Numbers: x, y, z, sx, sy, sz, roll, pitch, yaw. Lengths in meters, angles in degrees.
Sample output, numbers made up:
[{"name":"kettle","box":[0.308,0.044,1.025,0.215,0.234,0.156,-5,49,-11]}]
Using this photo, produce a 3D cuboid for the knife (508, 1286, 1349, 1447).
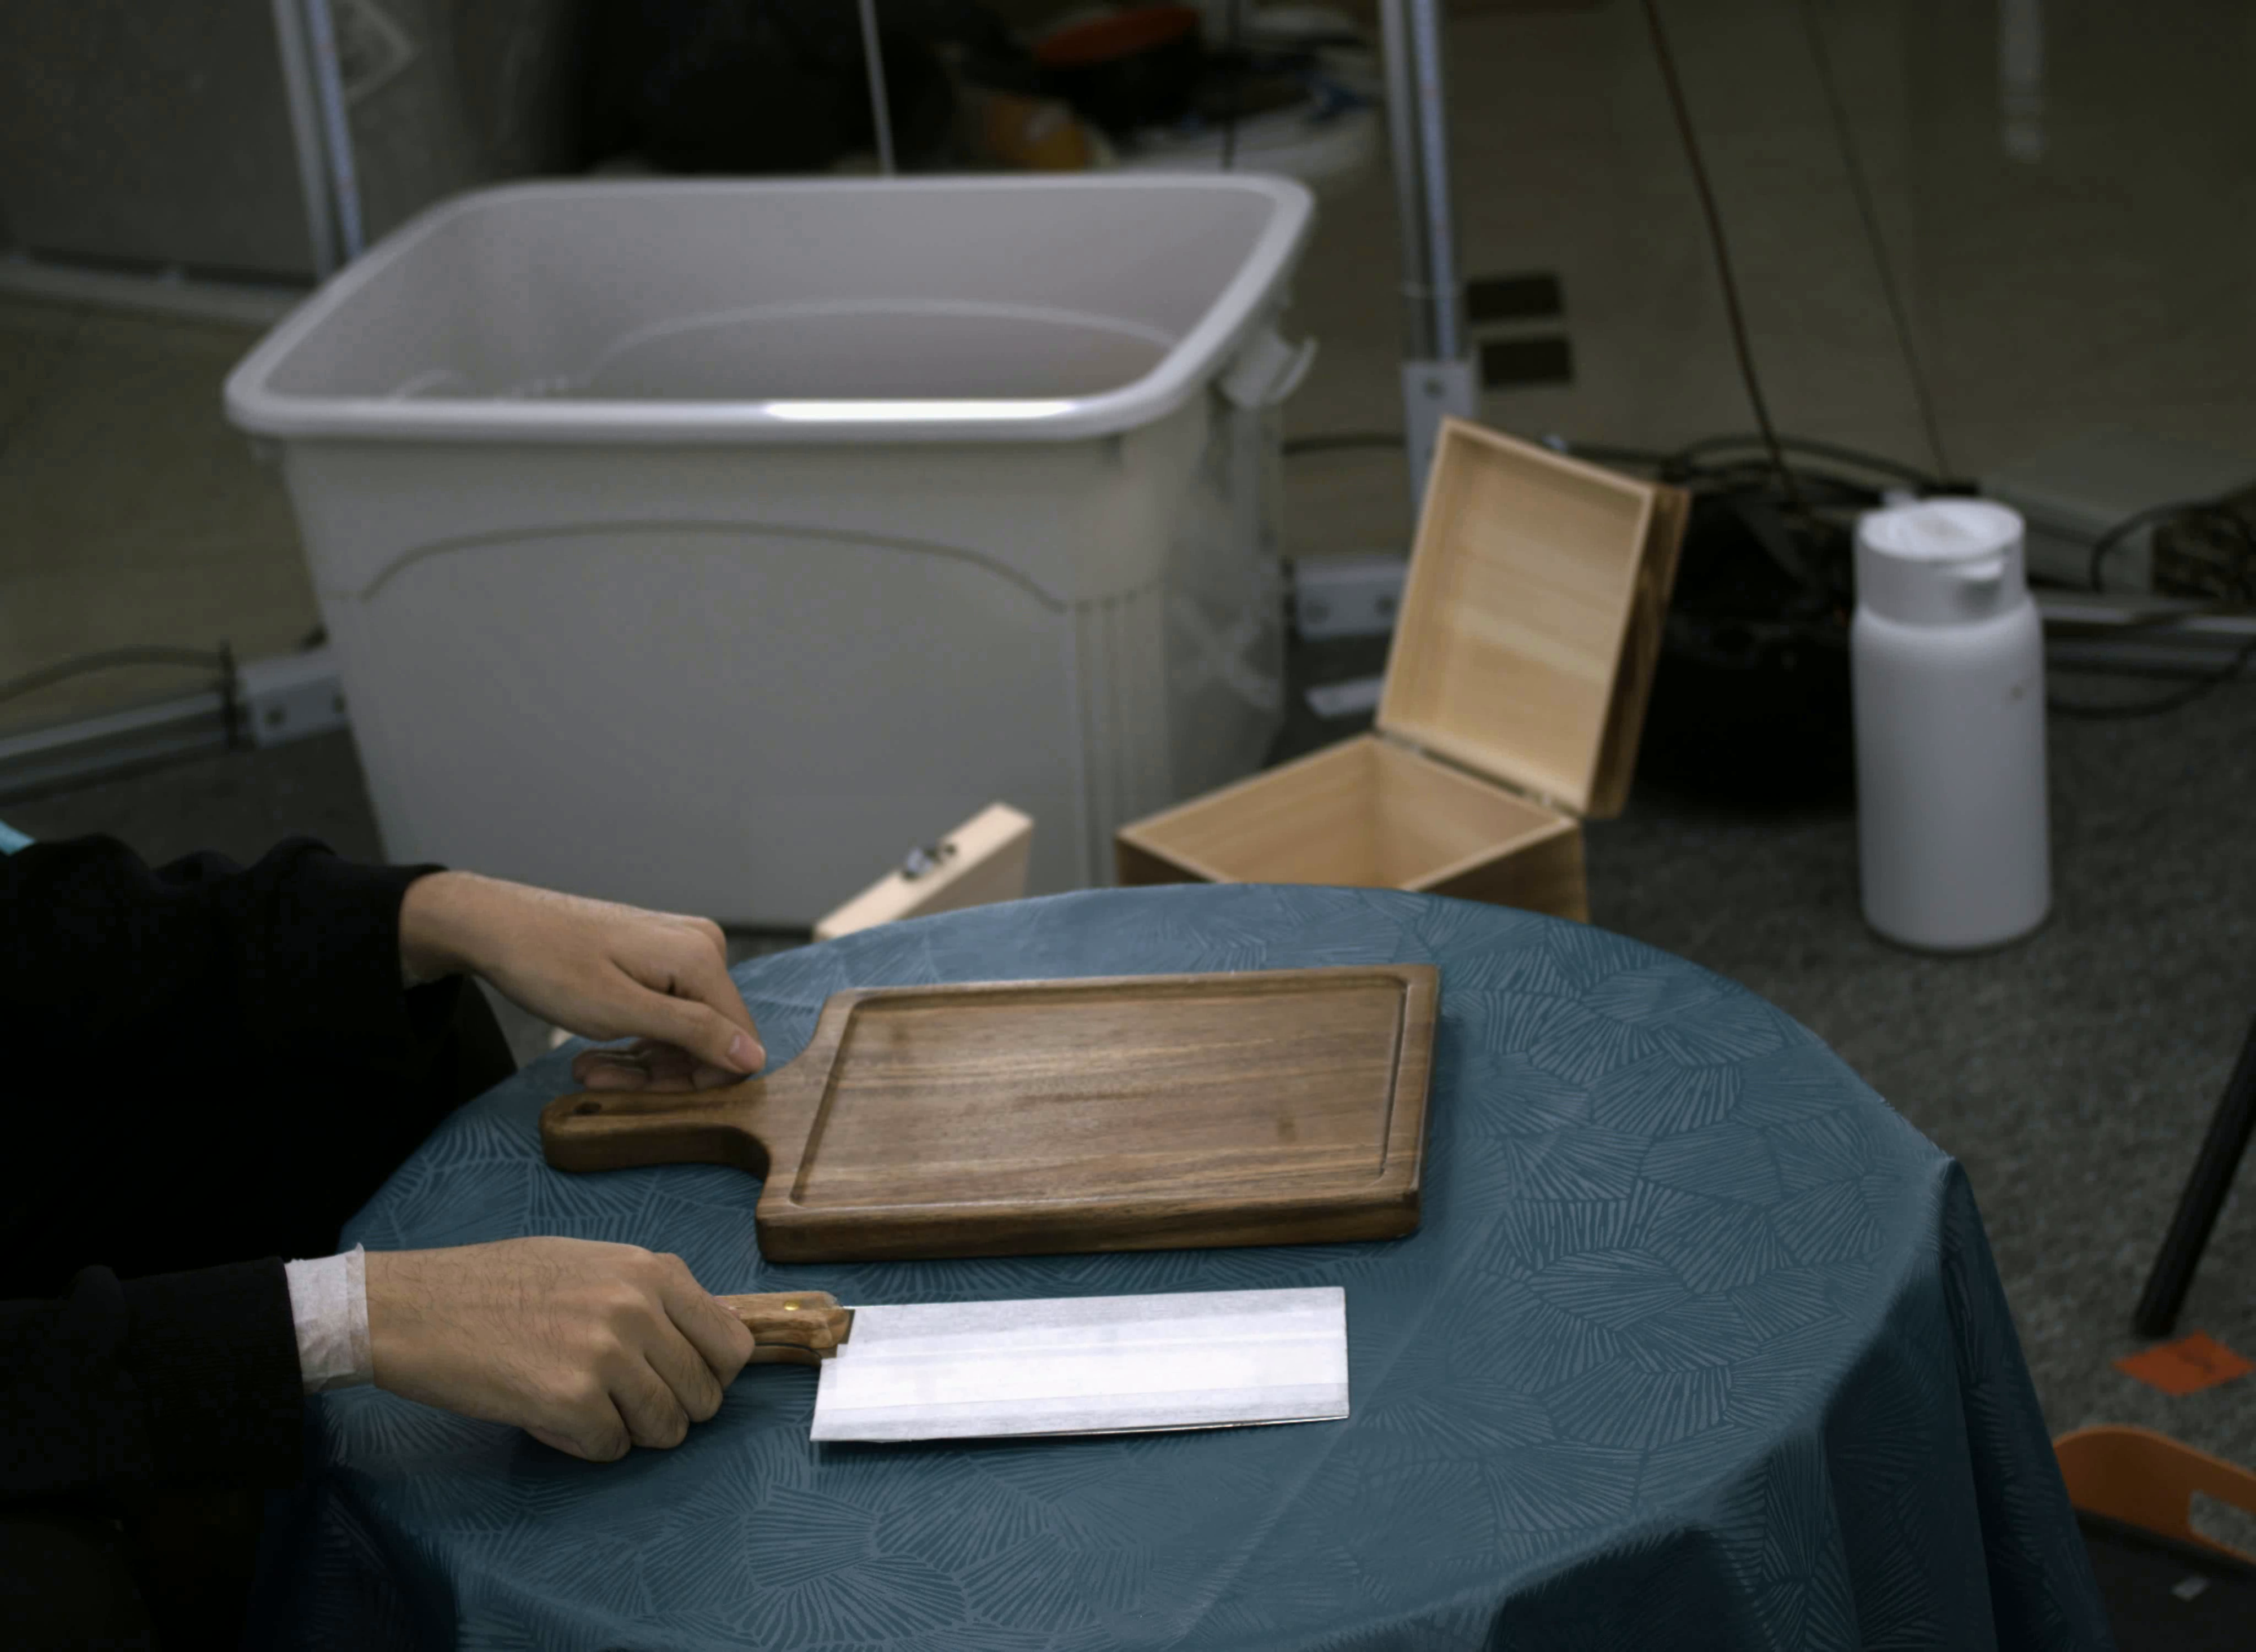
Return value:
[{"name":"knife","box":[-0.074,0.194,2.030,0.305,0.021,0.091,-3,27,2]}]

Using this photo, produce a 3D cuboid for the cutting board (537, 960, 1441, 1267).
[{"name":"cutting board","box":[-0.056,0.112,2.194,0.351,0.023,0.198,-3,25,7]}]
